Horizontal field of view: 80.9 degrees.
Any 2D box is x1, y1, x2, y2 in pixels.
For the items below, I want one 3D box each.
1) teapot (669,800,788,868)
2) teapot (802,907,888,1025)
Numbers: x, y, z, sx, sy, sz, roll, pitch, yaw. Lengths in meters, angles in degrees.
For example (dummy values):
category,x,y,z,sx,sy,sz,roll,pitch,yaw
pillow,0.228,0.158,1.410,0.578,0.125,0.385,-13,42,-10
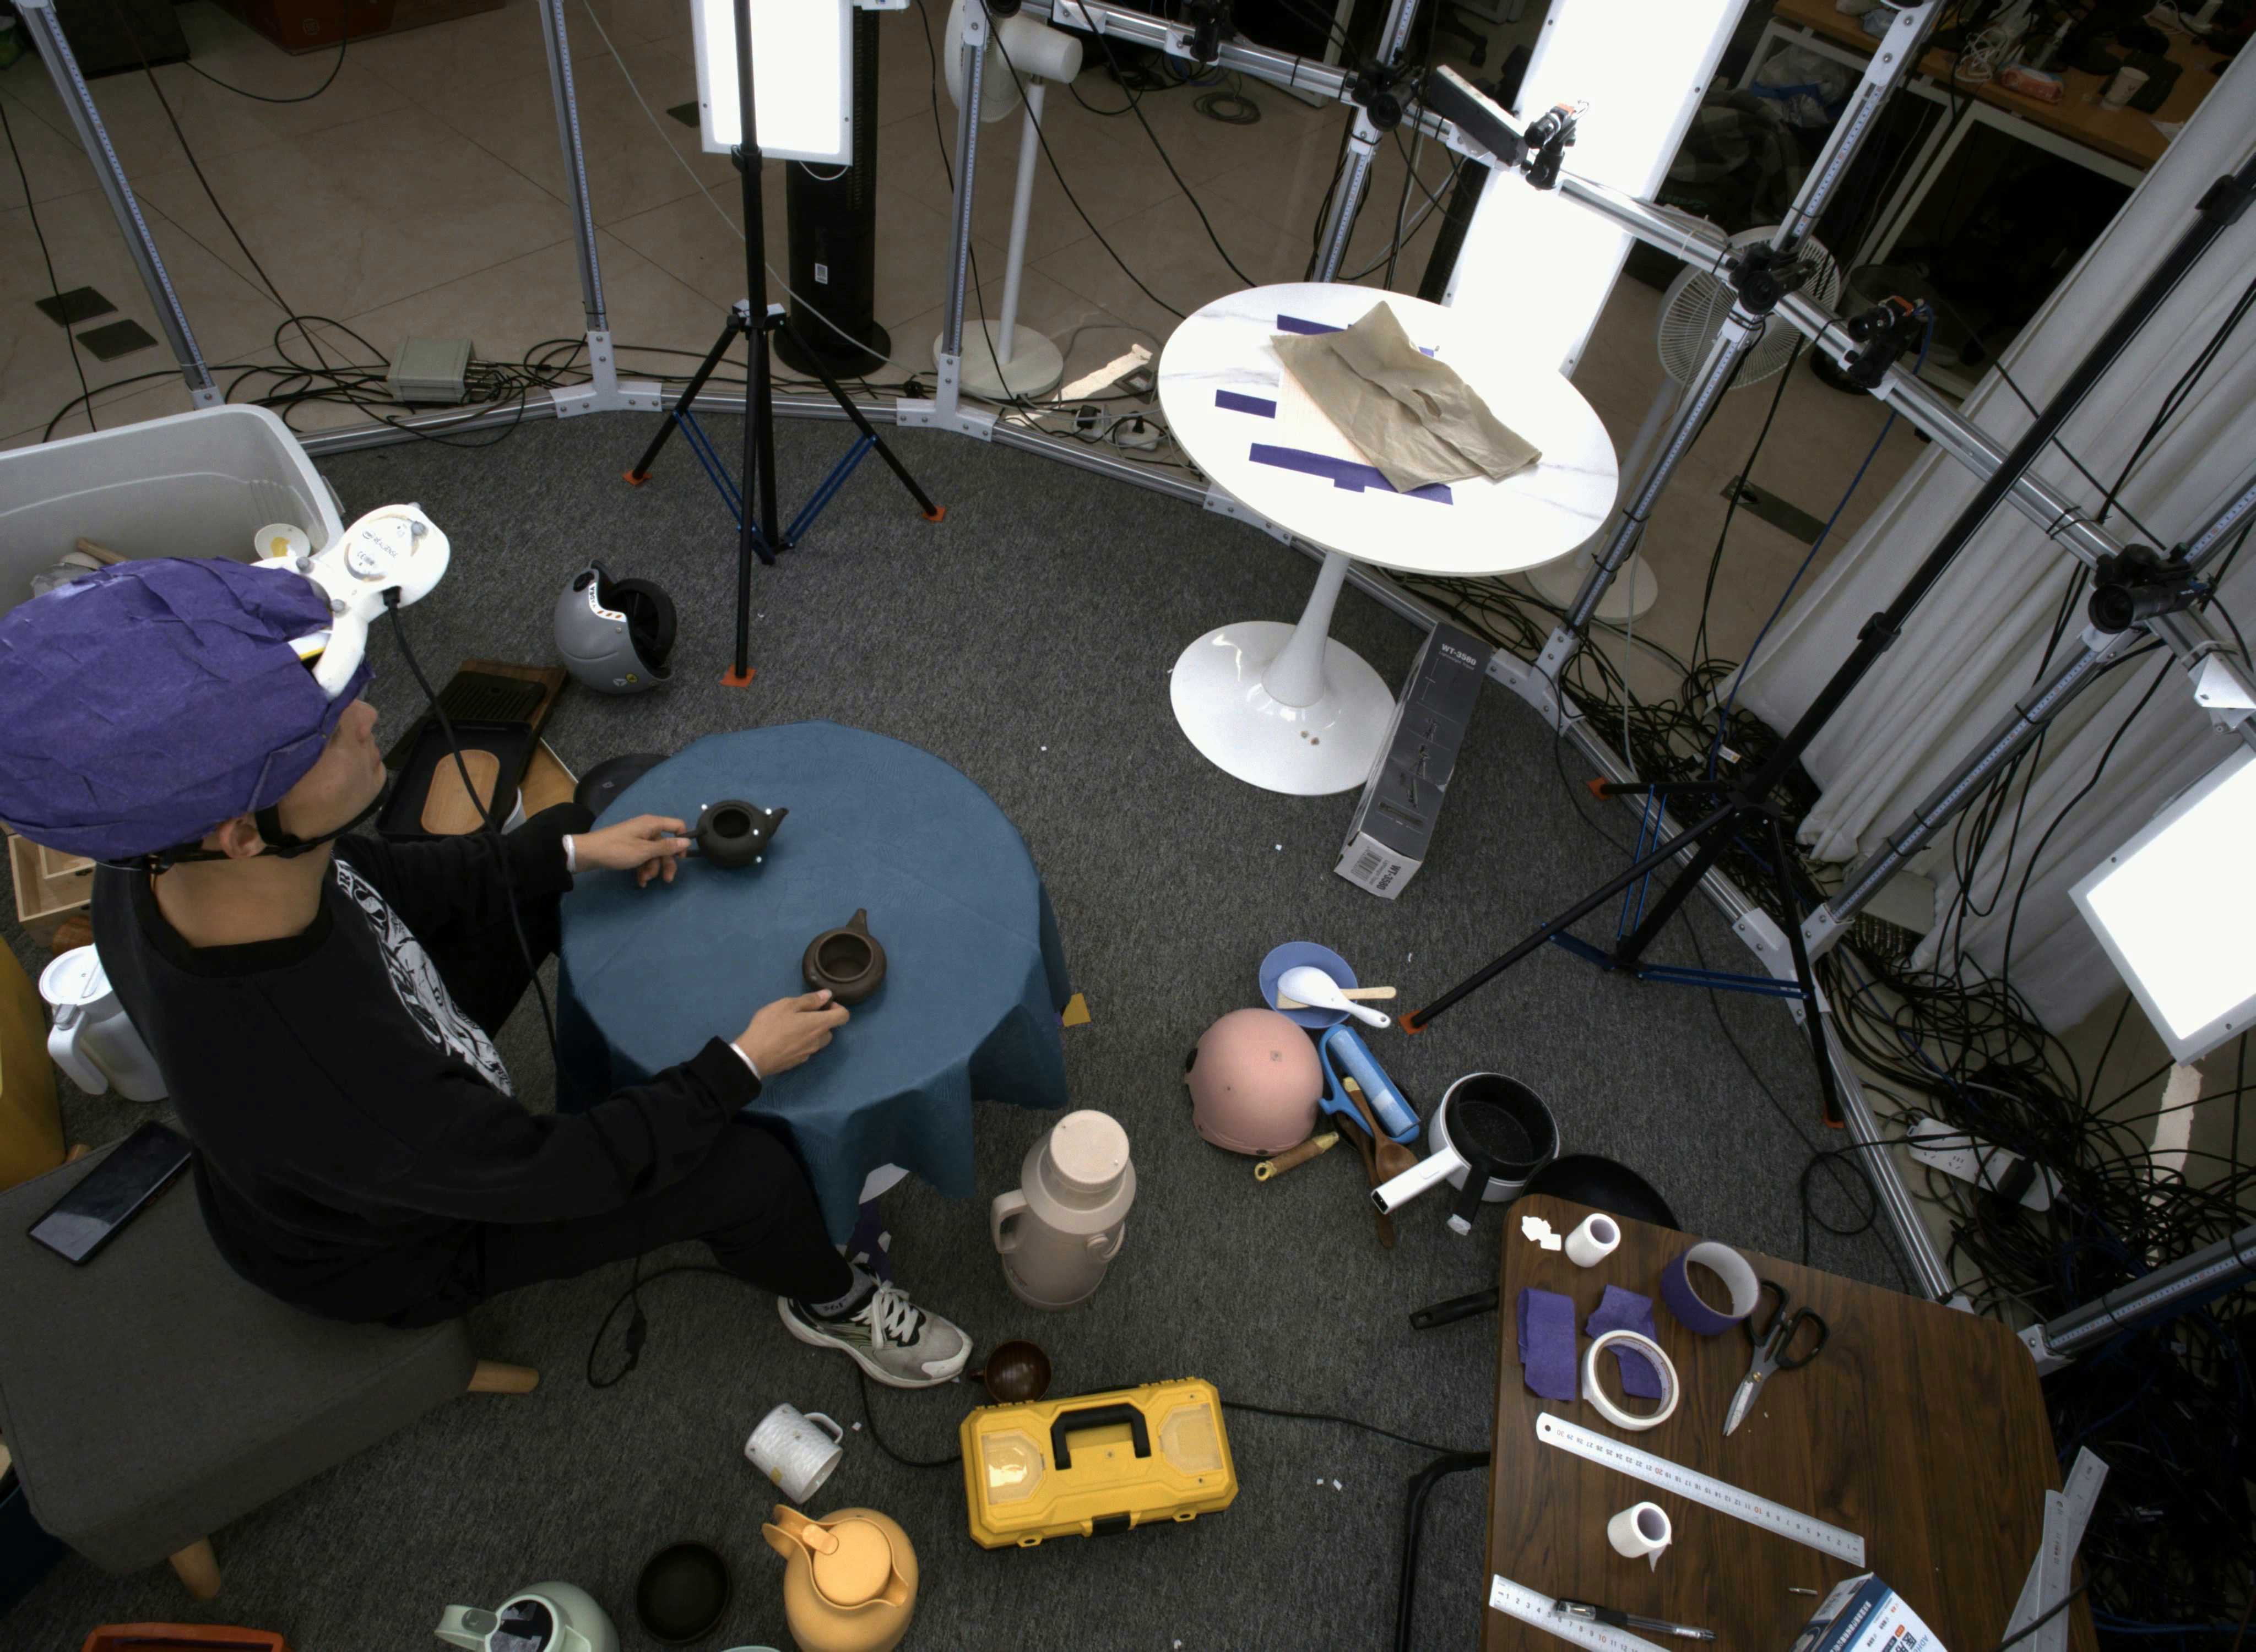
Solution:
category,x,y,z,sx,sy,sz,roll,pitch,yaw
teapot,-0.509,0.010,1.650,0.155,0.066,0.090,-16,56,-25
teapot,-0.345,0.171,1.579,0.102,0.055,0.151,9,52,-4
